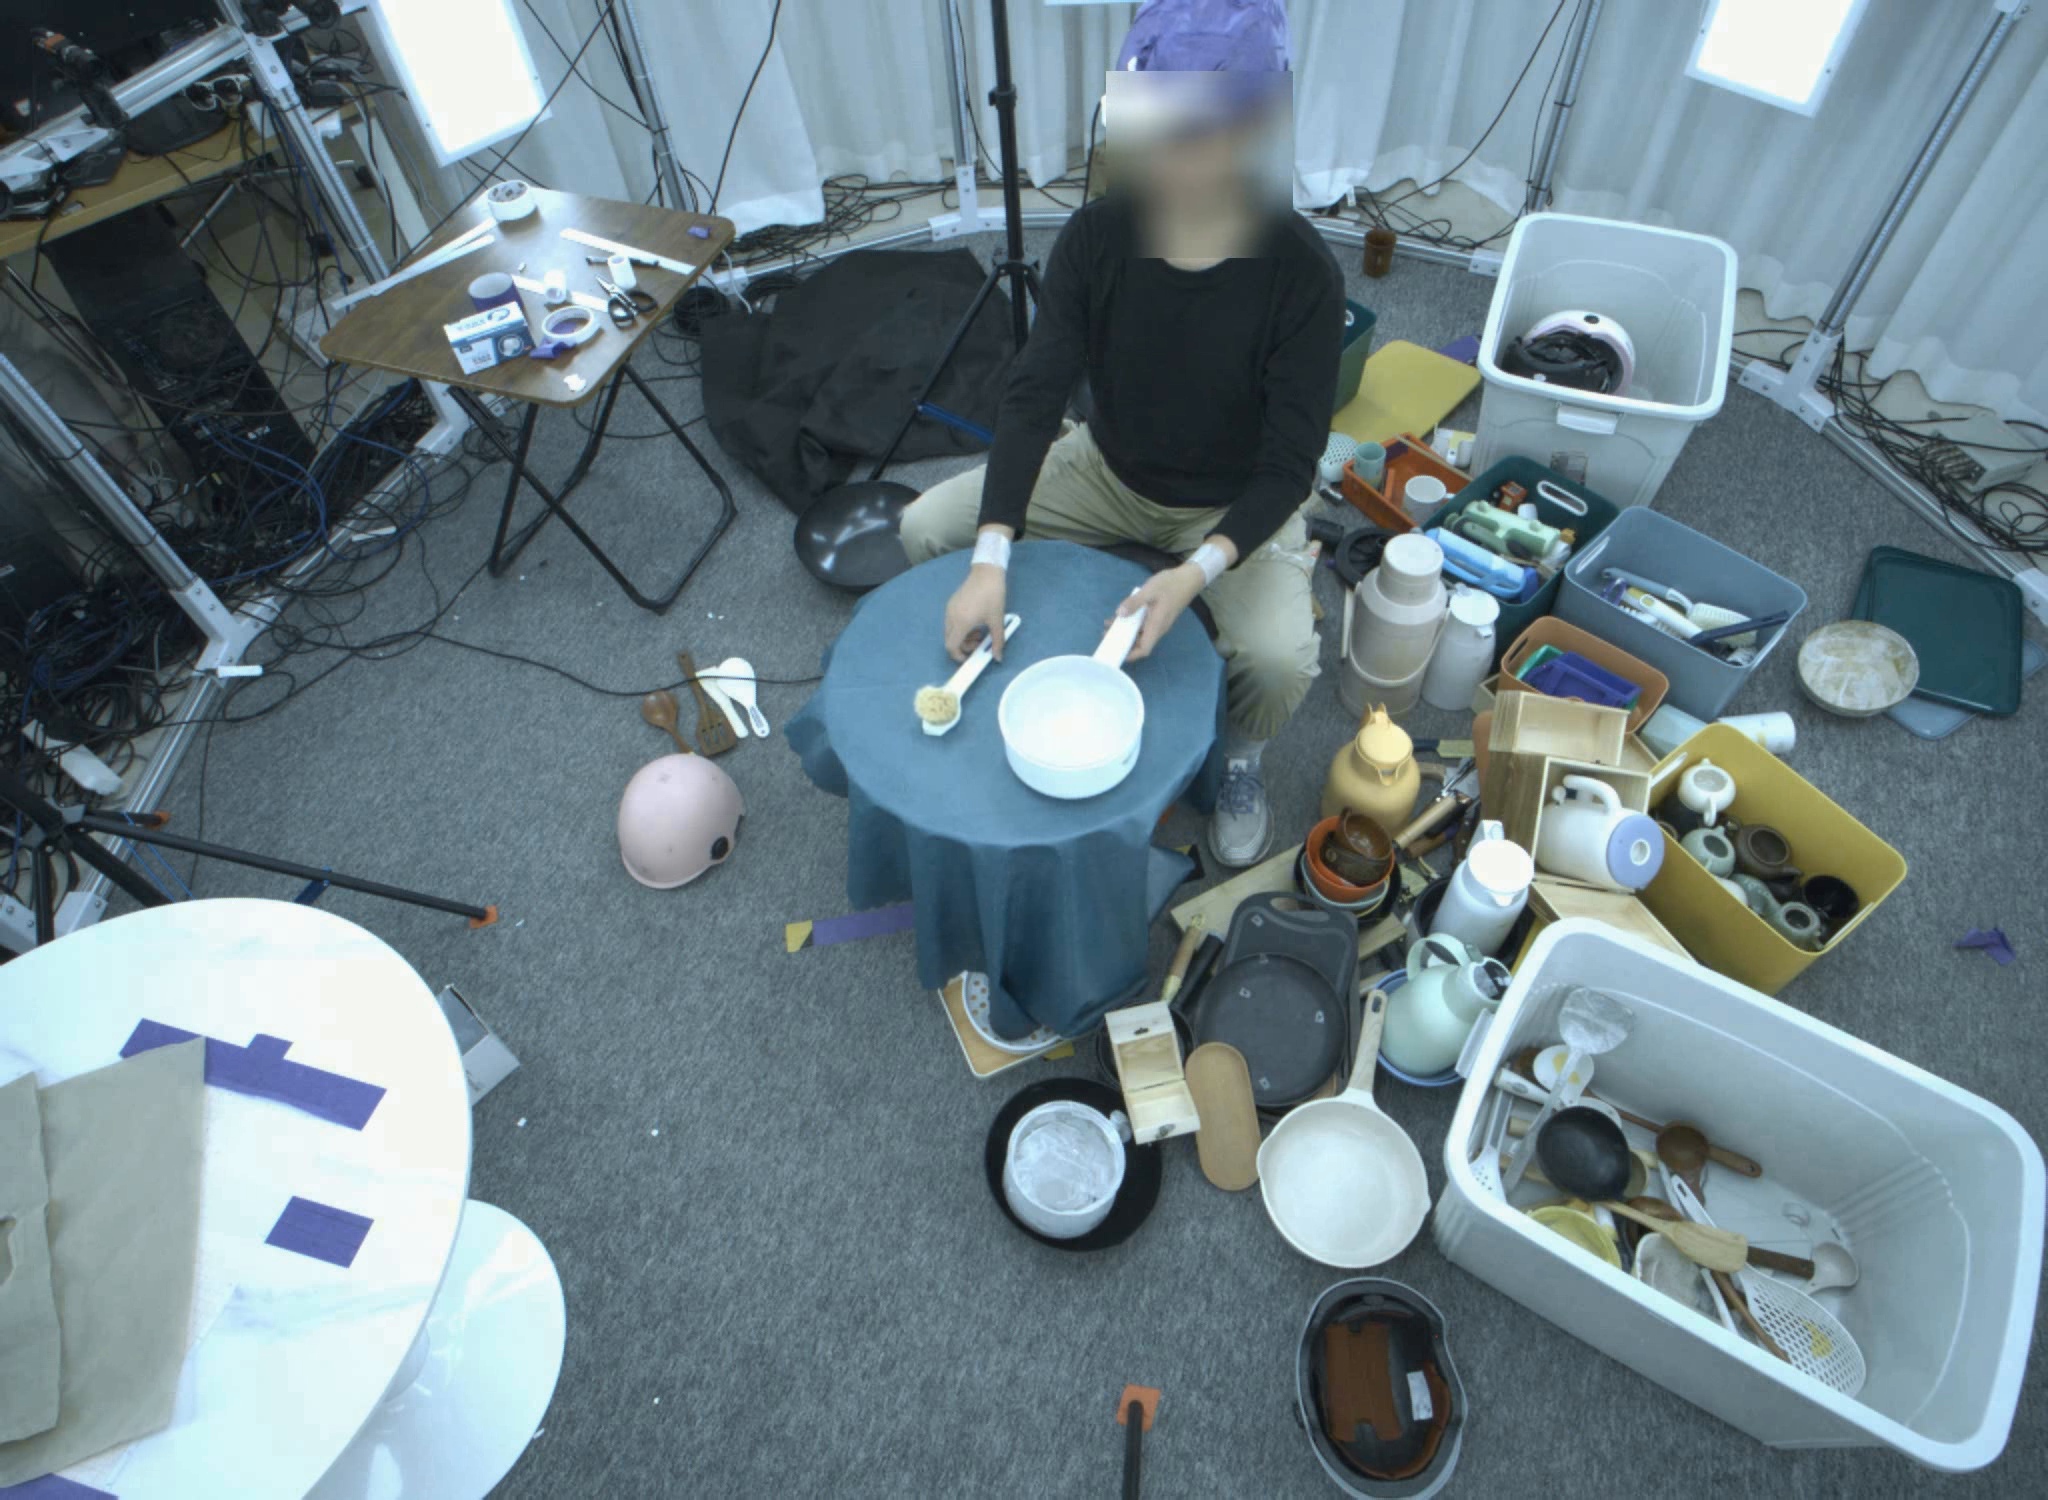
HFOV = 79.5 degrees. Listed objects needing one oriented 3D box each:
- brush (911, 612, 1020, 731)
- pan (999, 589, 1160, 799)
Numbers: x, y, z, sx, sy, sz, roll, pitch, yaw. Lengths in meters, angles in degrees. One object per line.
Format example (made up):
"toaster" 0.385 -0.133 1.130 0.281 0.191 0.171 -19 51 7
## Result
"brush" -0.082 -0.136 1.853 0.068 0.056 0.267 27 59 14
"pan" 0.104 -0.083 1.784 0.198 0.103 0.355 21 57 18
